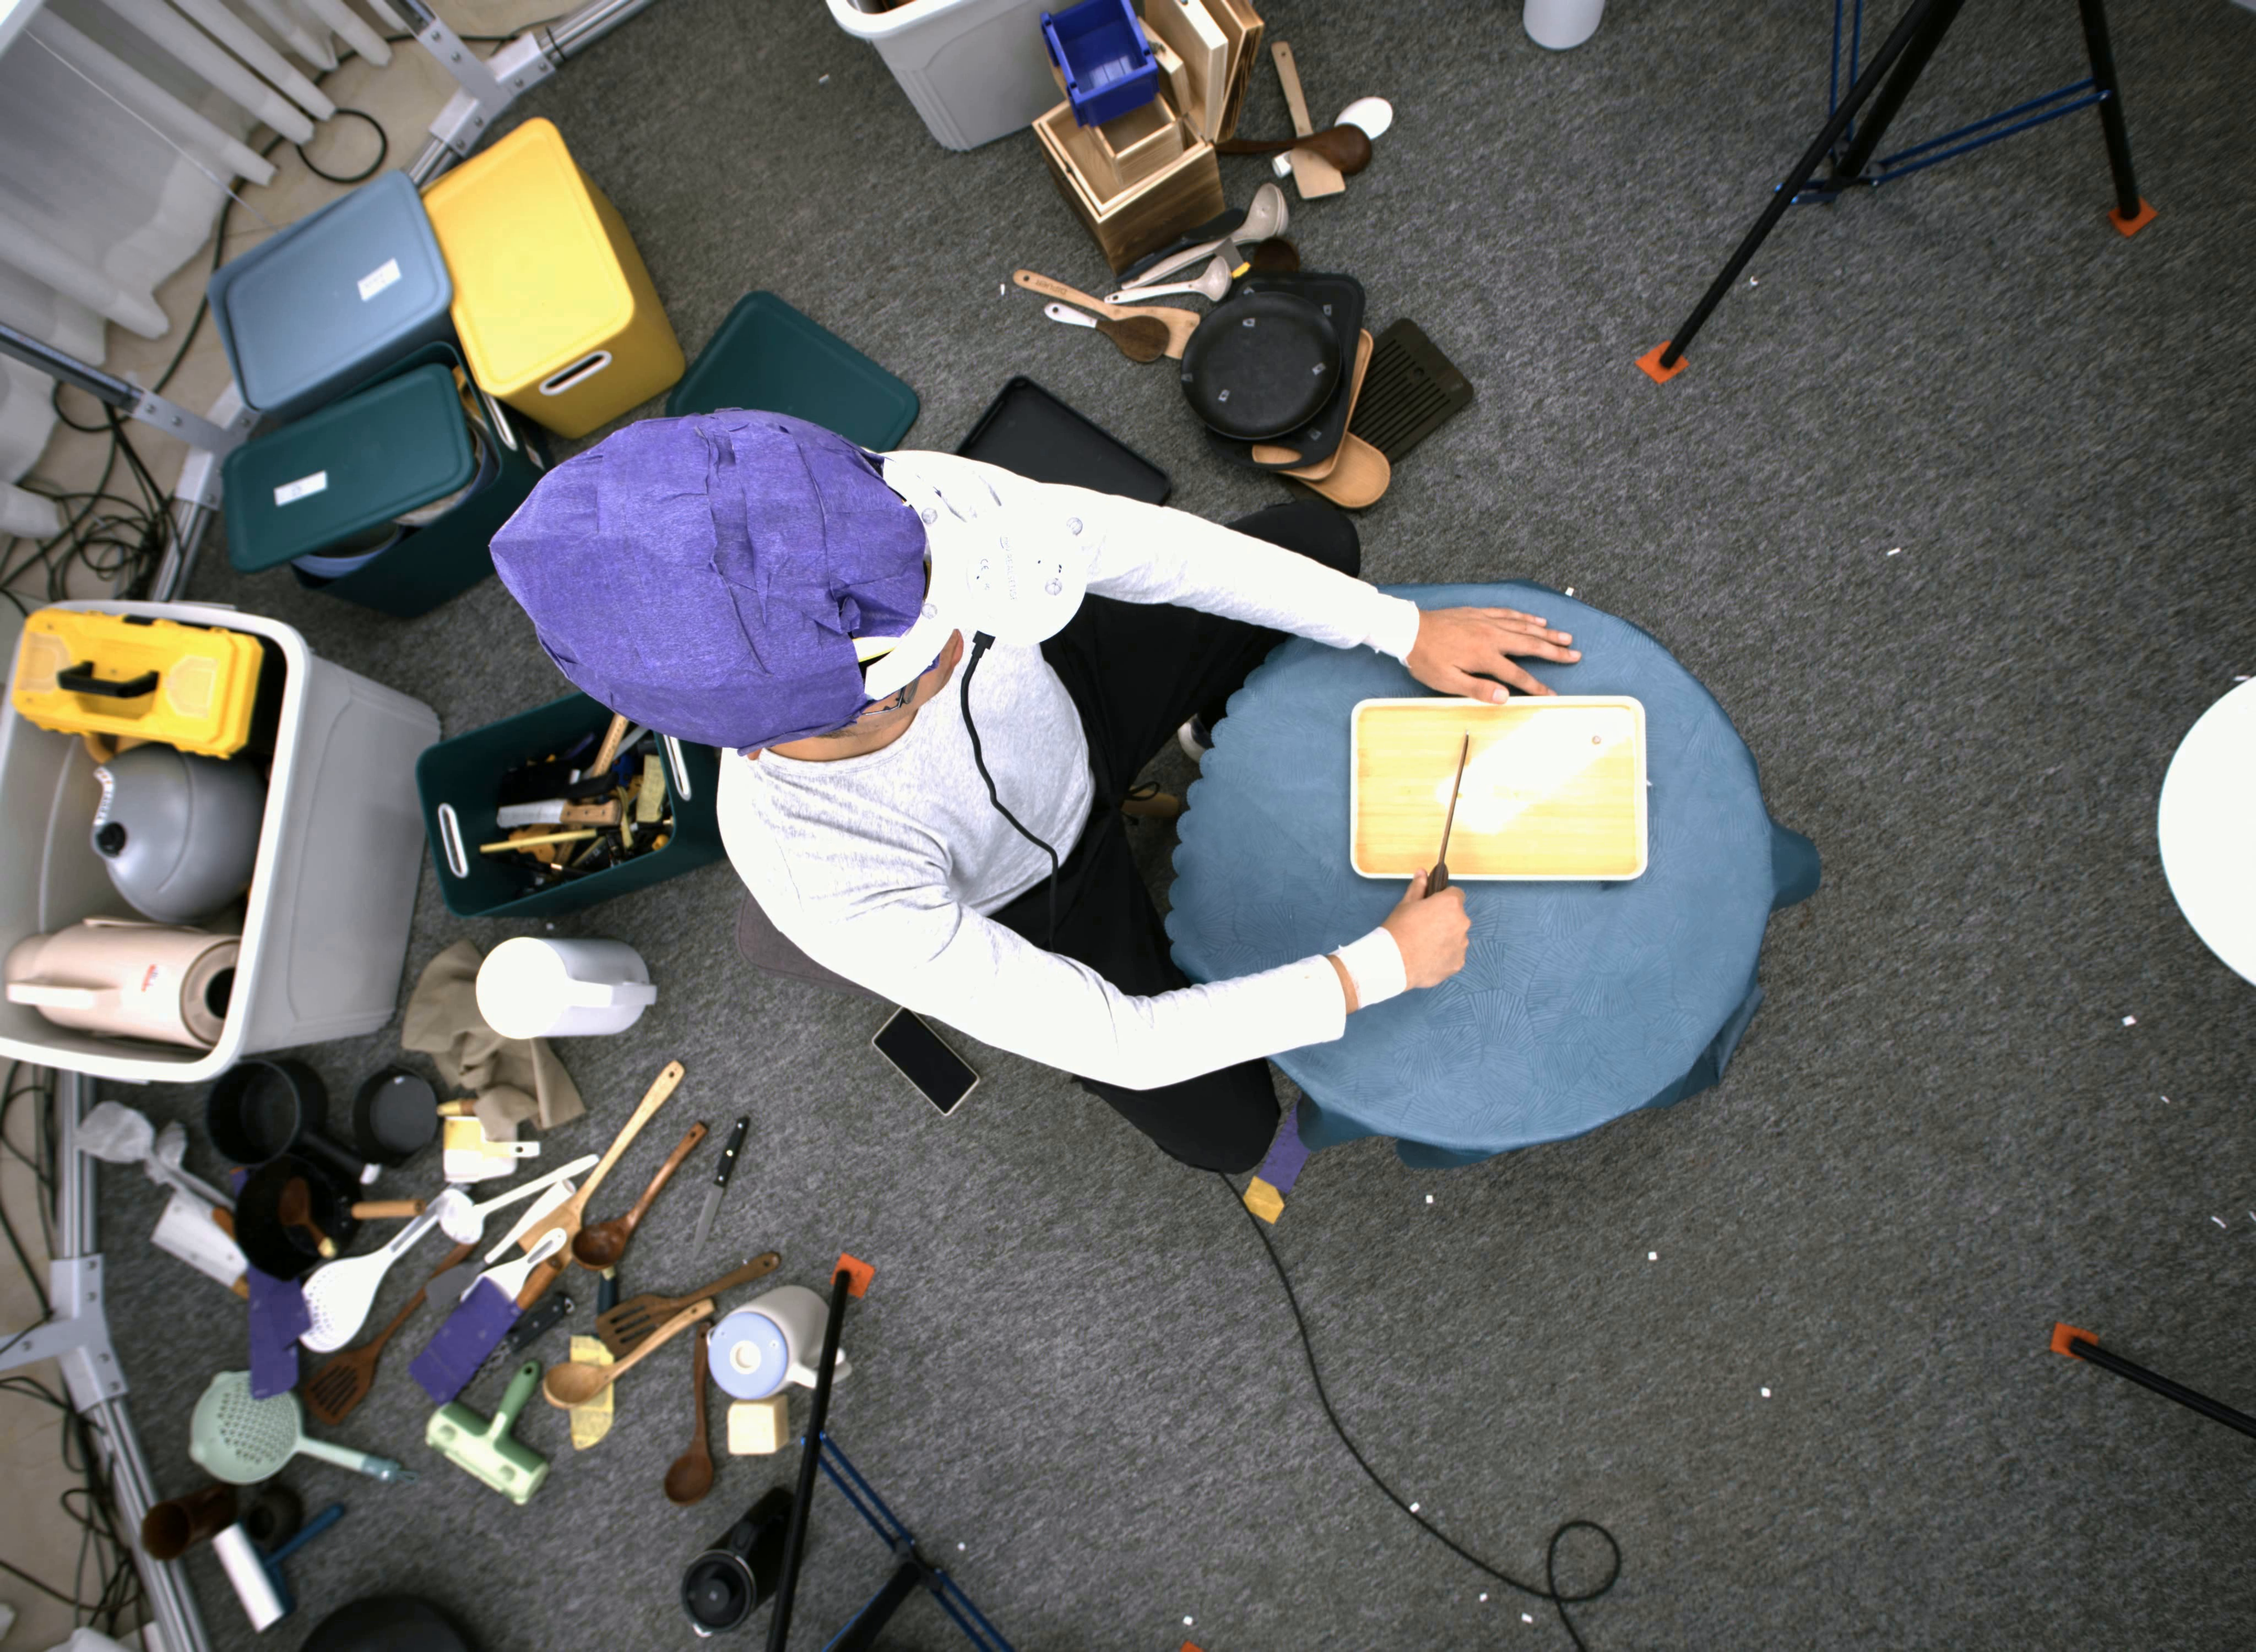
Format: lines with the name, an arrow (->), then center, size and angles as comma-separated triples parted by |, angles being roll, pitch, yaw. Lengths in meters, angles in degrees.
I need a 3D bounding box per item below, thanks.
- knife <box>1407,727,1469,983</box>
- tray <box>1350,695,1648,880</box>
knife -> 0.320, 0.023, 1.399 | 0.020, 0.051, 0.284 | 14, 72, 5
tray -> 0.383, -0.042, 1.432 | 0.301, 0.027, 0.191 | 0, 87, 11
